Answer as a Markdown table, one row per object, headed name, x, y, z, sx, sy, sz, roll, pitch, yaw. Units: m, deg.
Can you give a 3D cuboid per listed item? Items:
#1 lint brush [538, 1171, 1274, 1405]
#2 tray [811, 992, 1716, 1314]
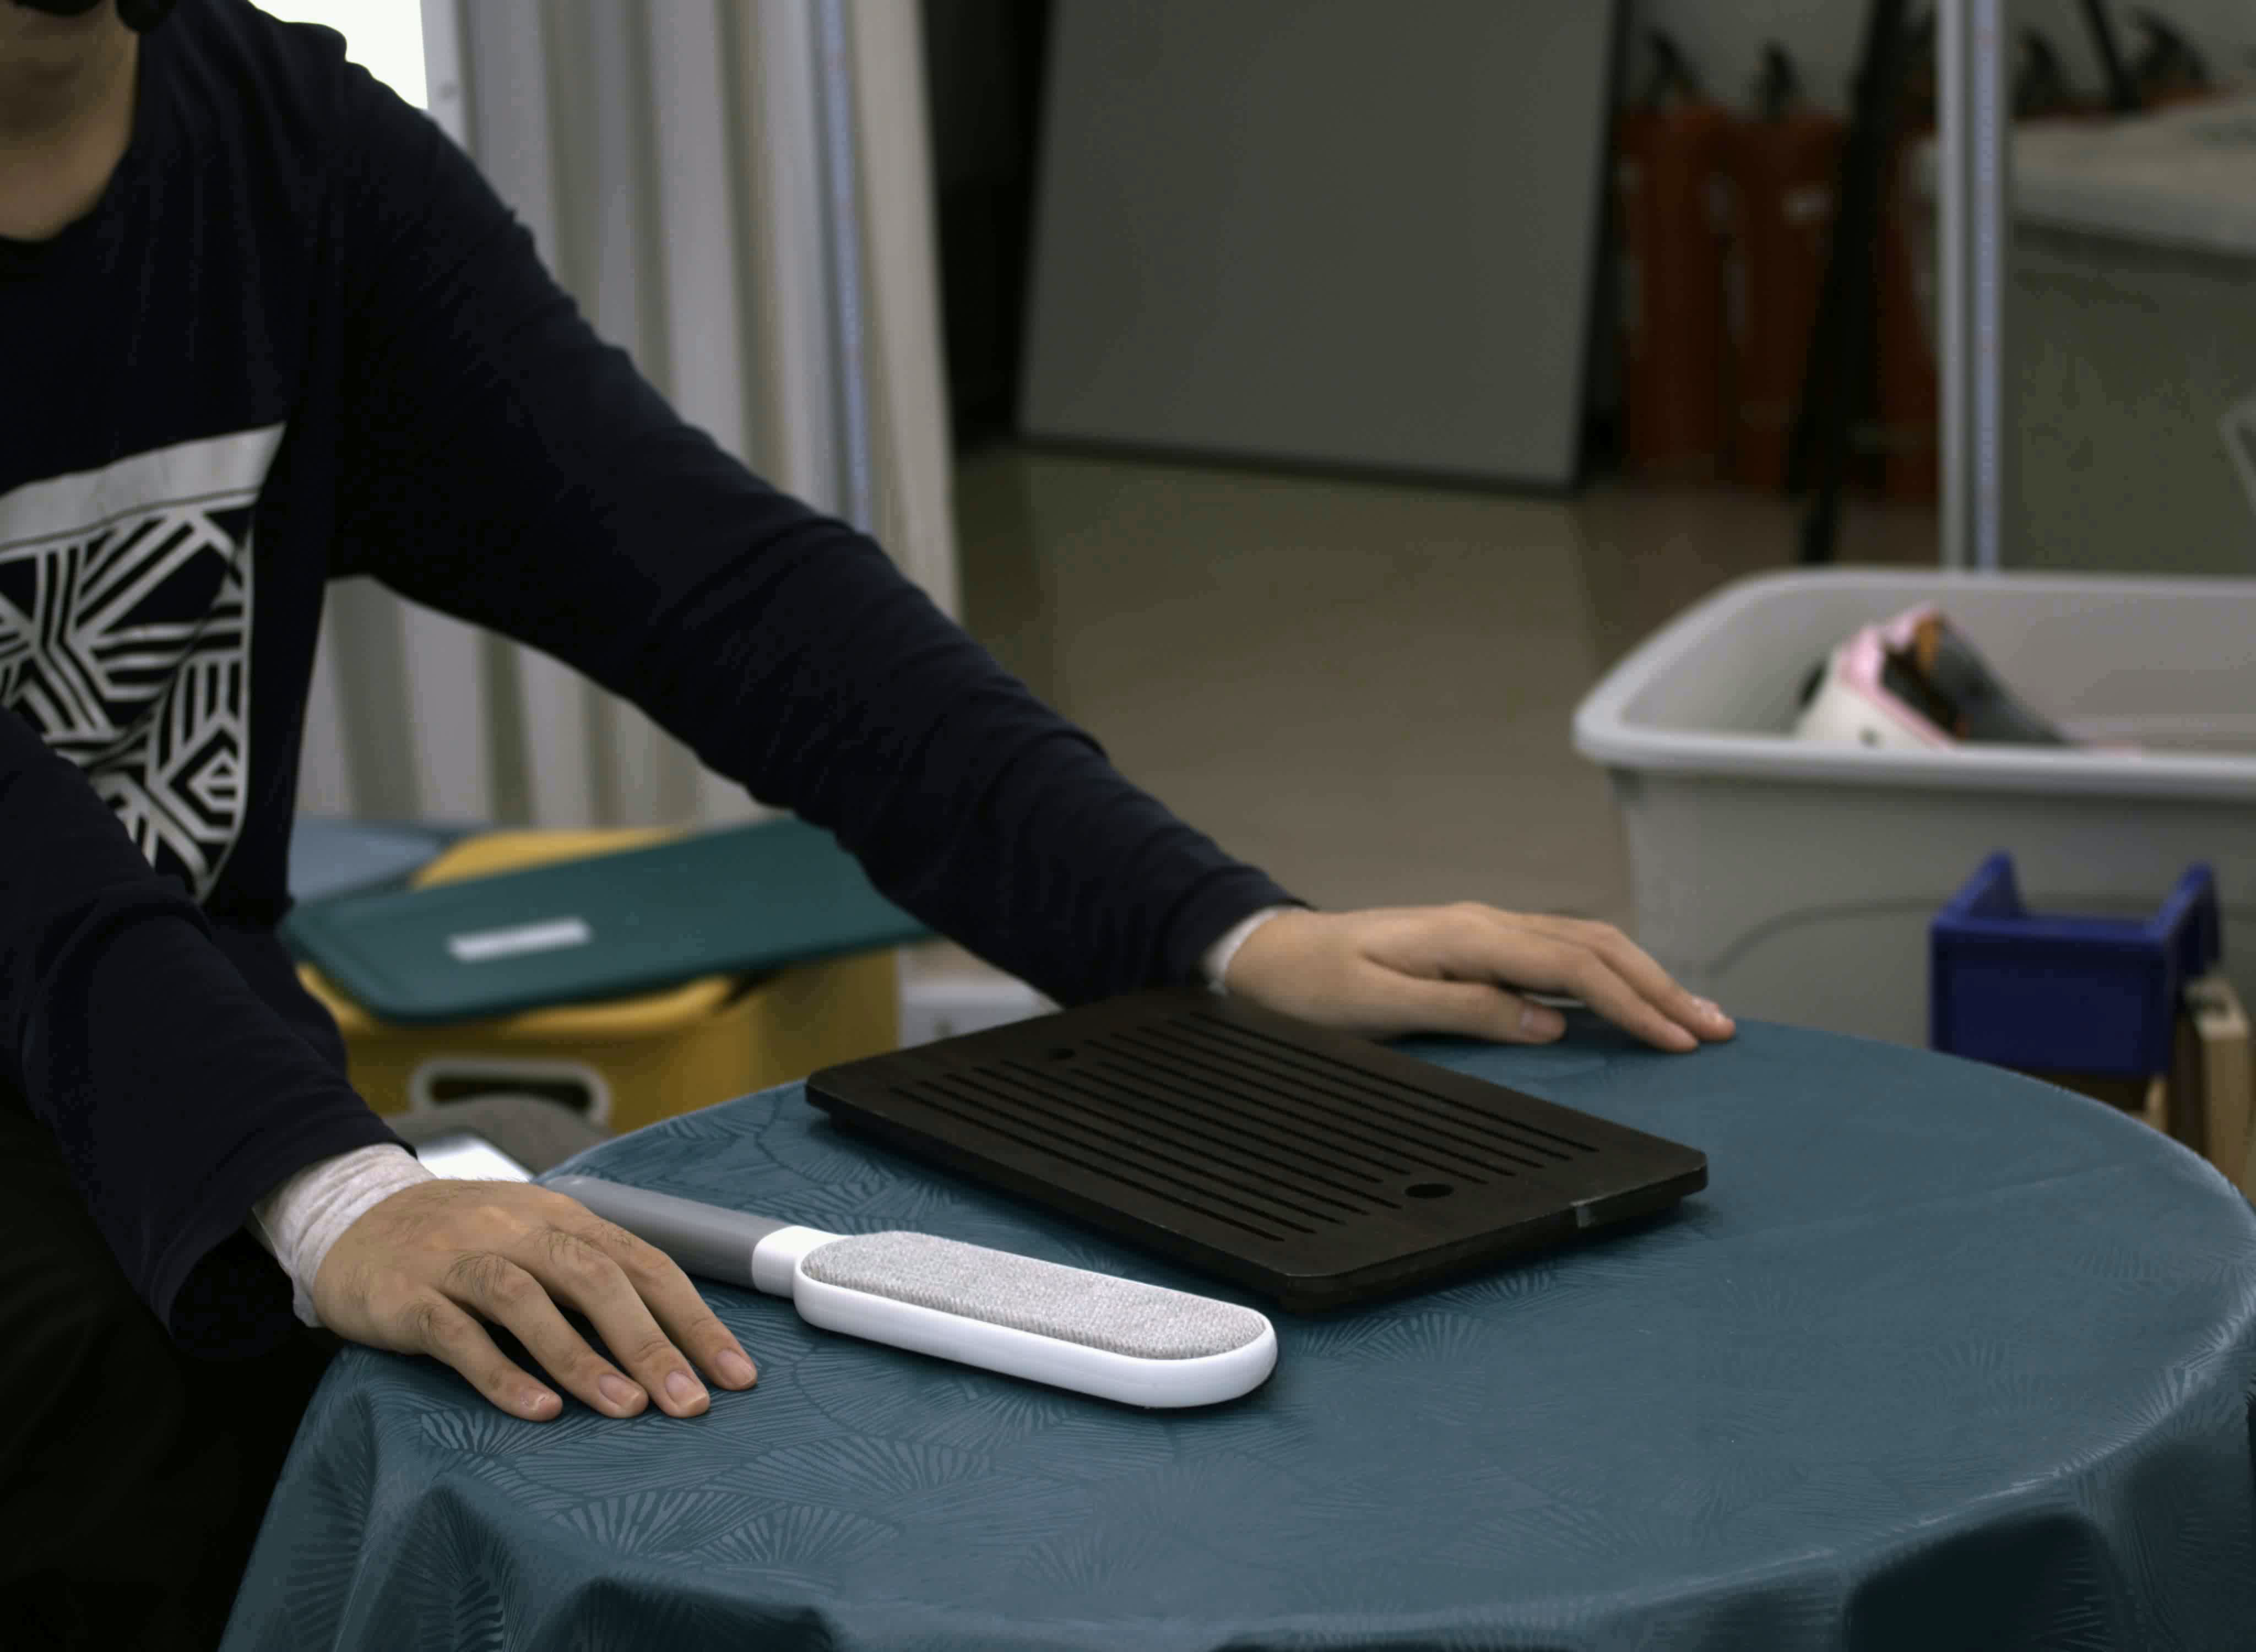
| name | x | y | z | sx | sy | sz | roll | pitch | yaw |
| --- | --- | --- | --- | --- | --- | --- | --- | --- | --- |
| lint brush | -0.075 | 0.139 | 1.668 | 0.311 | 0.021 | 0.059 | 9 | 24 | 43 |
| tray | 0.040 | 0.105 | 1.794 | 0.166 | 0.019 | 0.309 | -13 | 16 | -32 |
